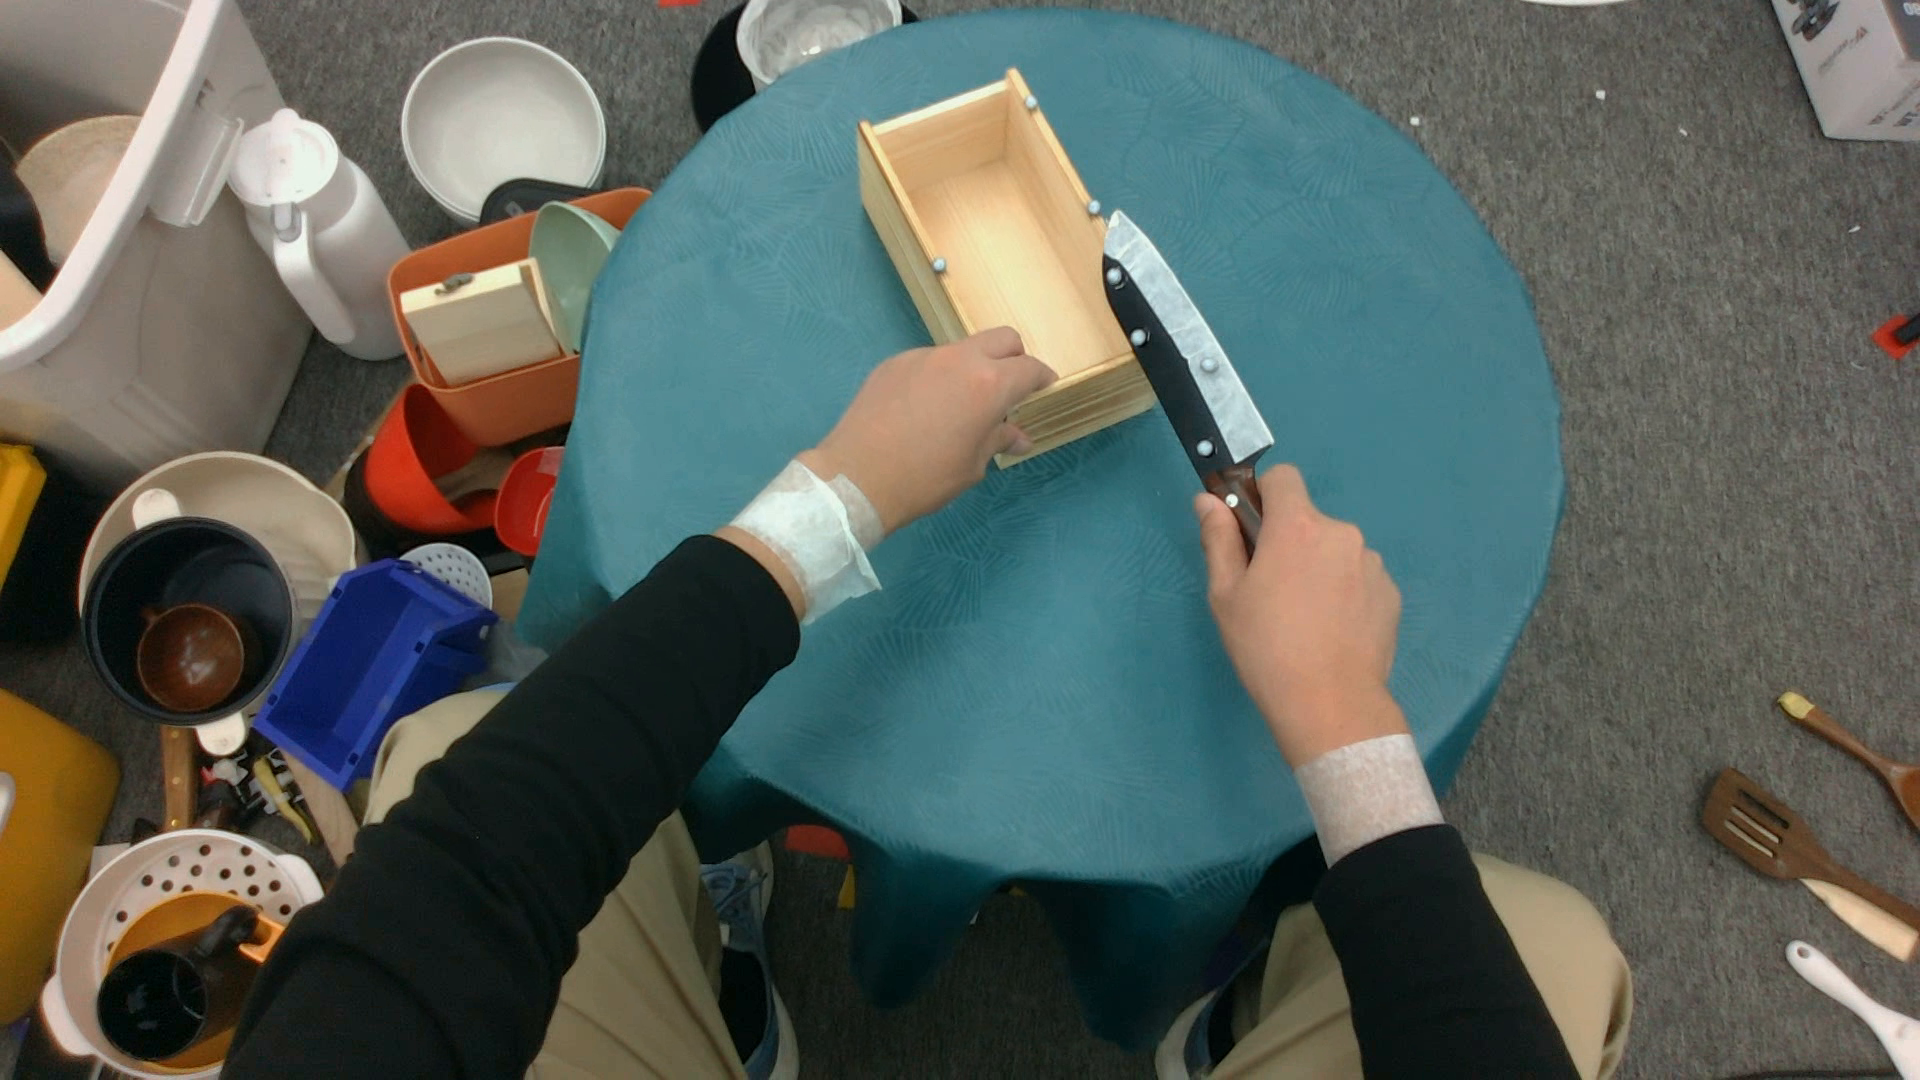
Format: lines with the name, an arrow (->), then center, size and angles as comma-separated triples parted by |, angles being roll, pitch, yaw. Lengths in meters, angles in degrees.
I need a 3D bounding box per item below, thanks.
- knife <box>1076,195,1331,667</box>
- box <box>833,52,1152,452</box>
knife -> 0.125, -0.067, 0.734 | 0.050, 0.020, 0.289 | -30, 70, 23
box -> 0.015, -0.173, 0.826 | 0.108, 0.080, 0.212 | -23, 70, -11
